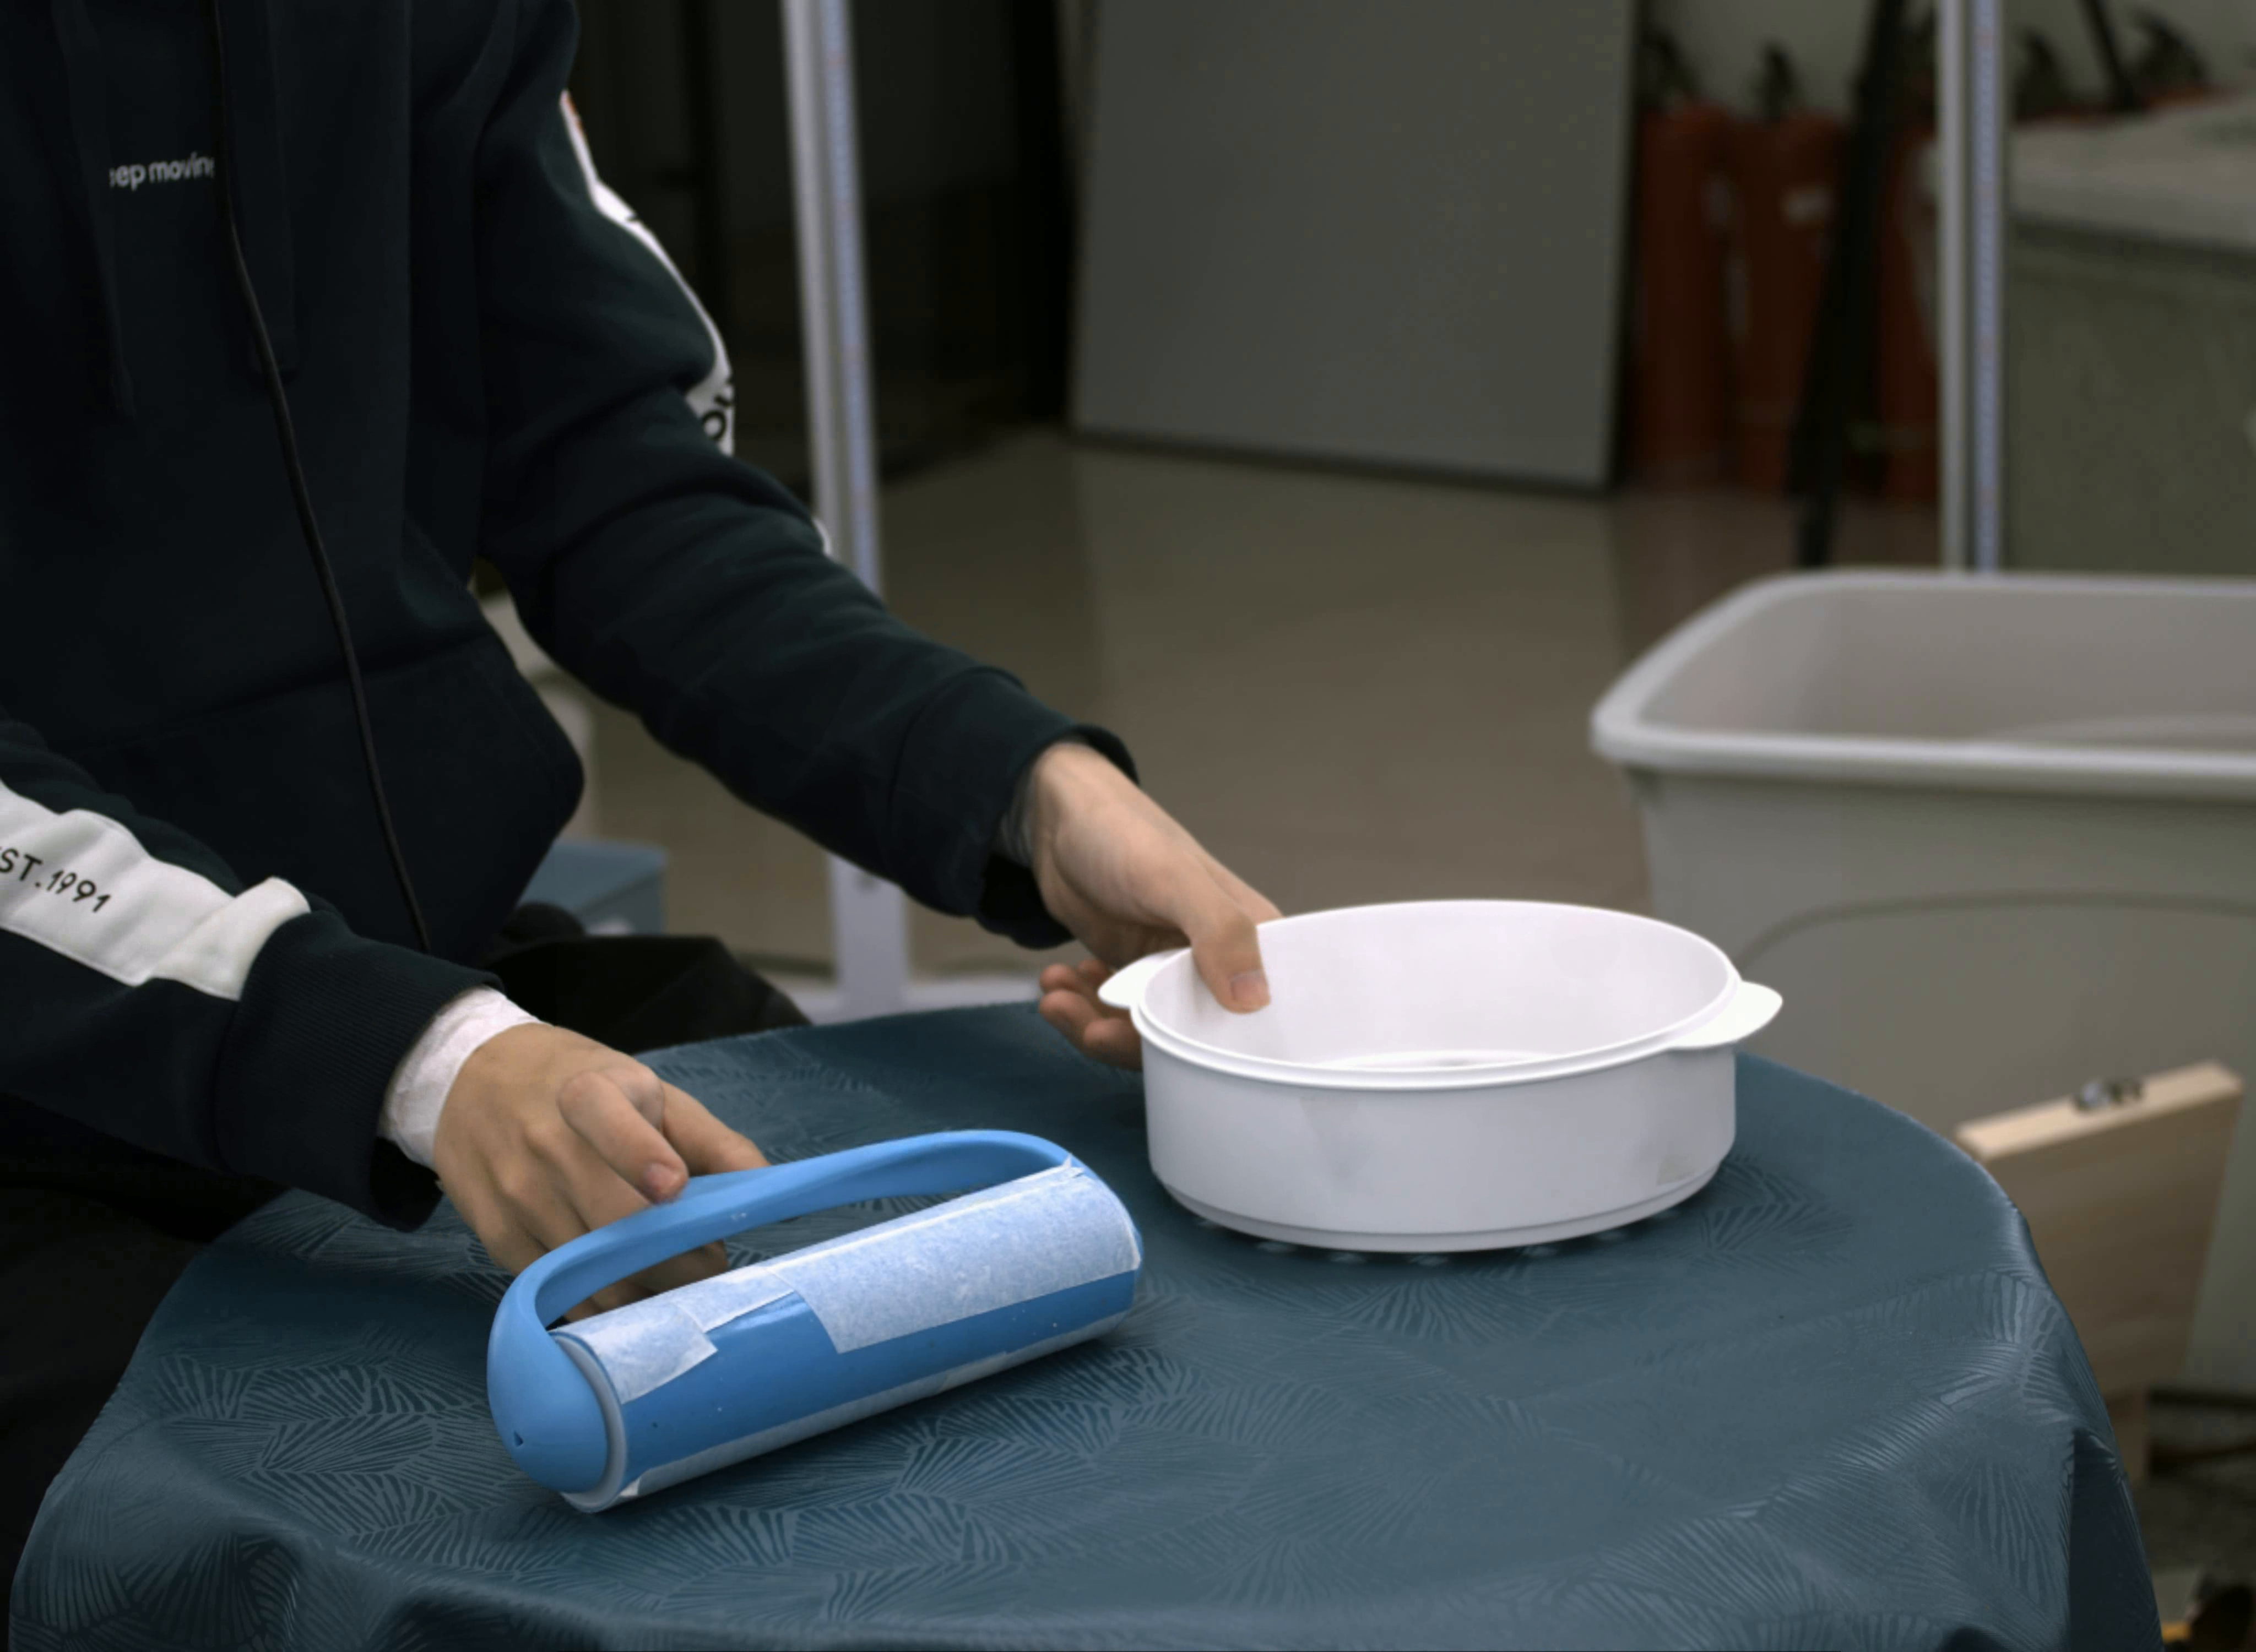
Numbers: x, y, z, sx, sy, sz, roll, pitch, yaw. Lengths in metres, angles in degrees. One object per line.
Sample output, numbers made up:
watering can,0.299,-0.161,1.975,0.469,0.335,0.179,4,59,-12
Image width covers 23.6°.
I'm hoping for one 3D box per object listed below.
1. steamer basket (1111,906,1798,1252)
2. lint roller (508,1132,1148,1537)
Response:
steamer basket,0.106,0.082,1.753,0.231,0.070,0.199,2,14,26
lint roller,-0.123,0.141,1.615,0.182,0.068,0.224,12,24,44
